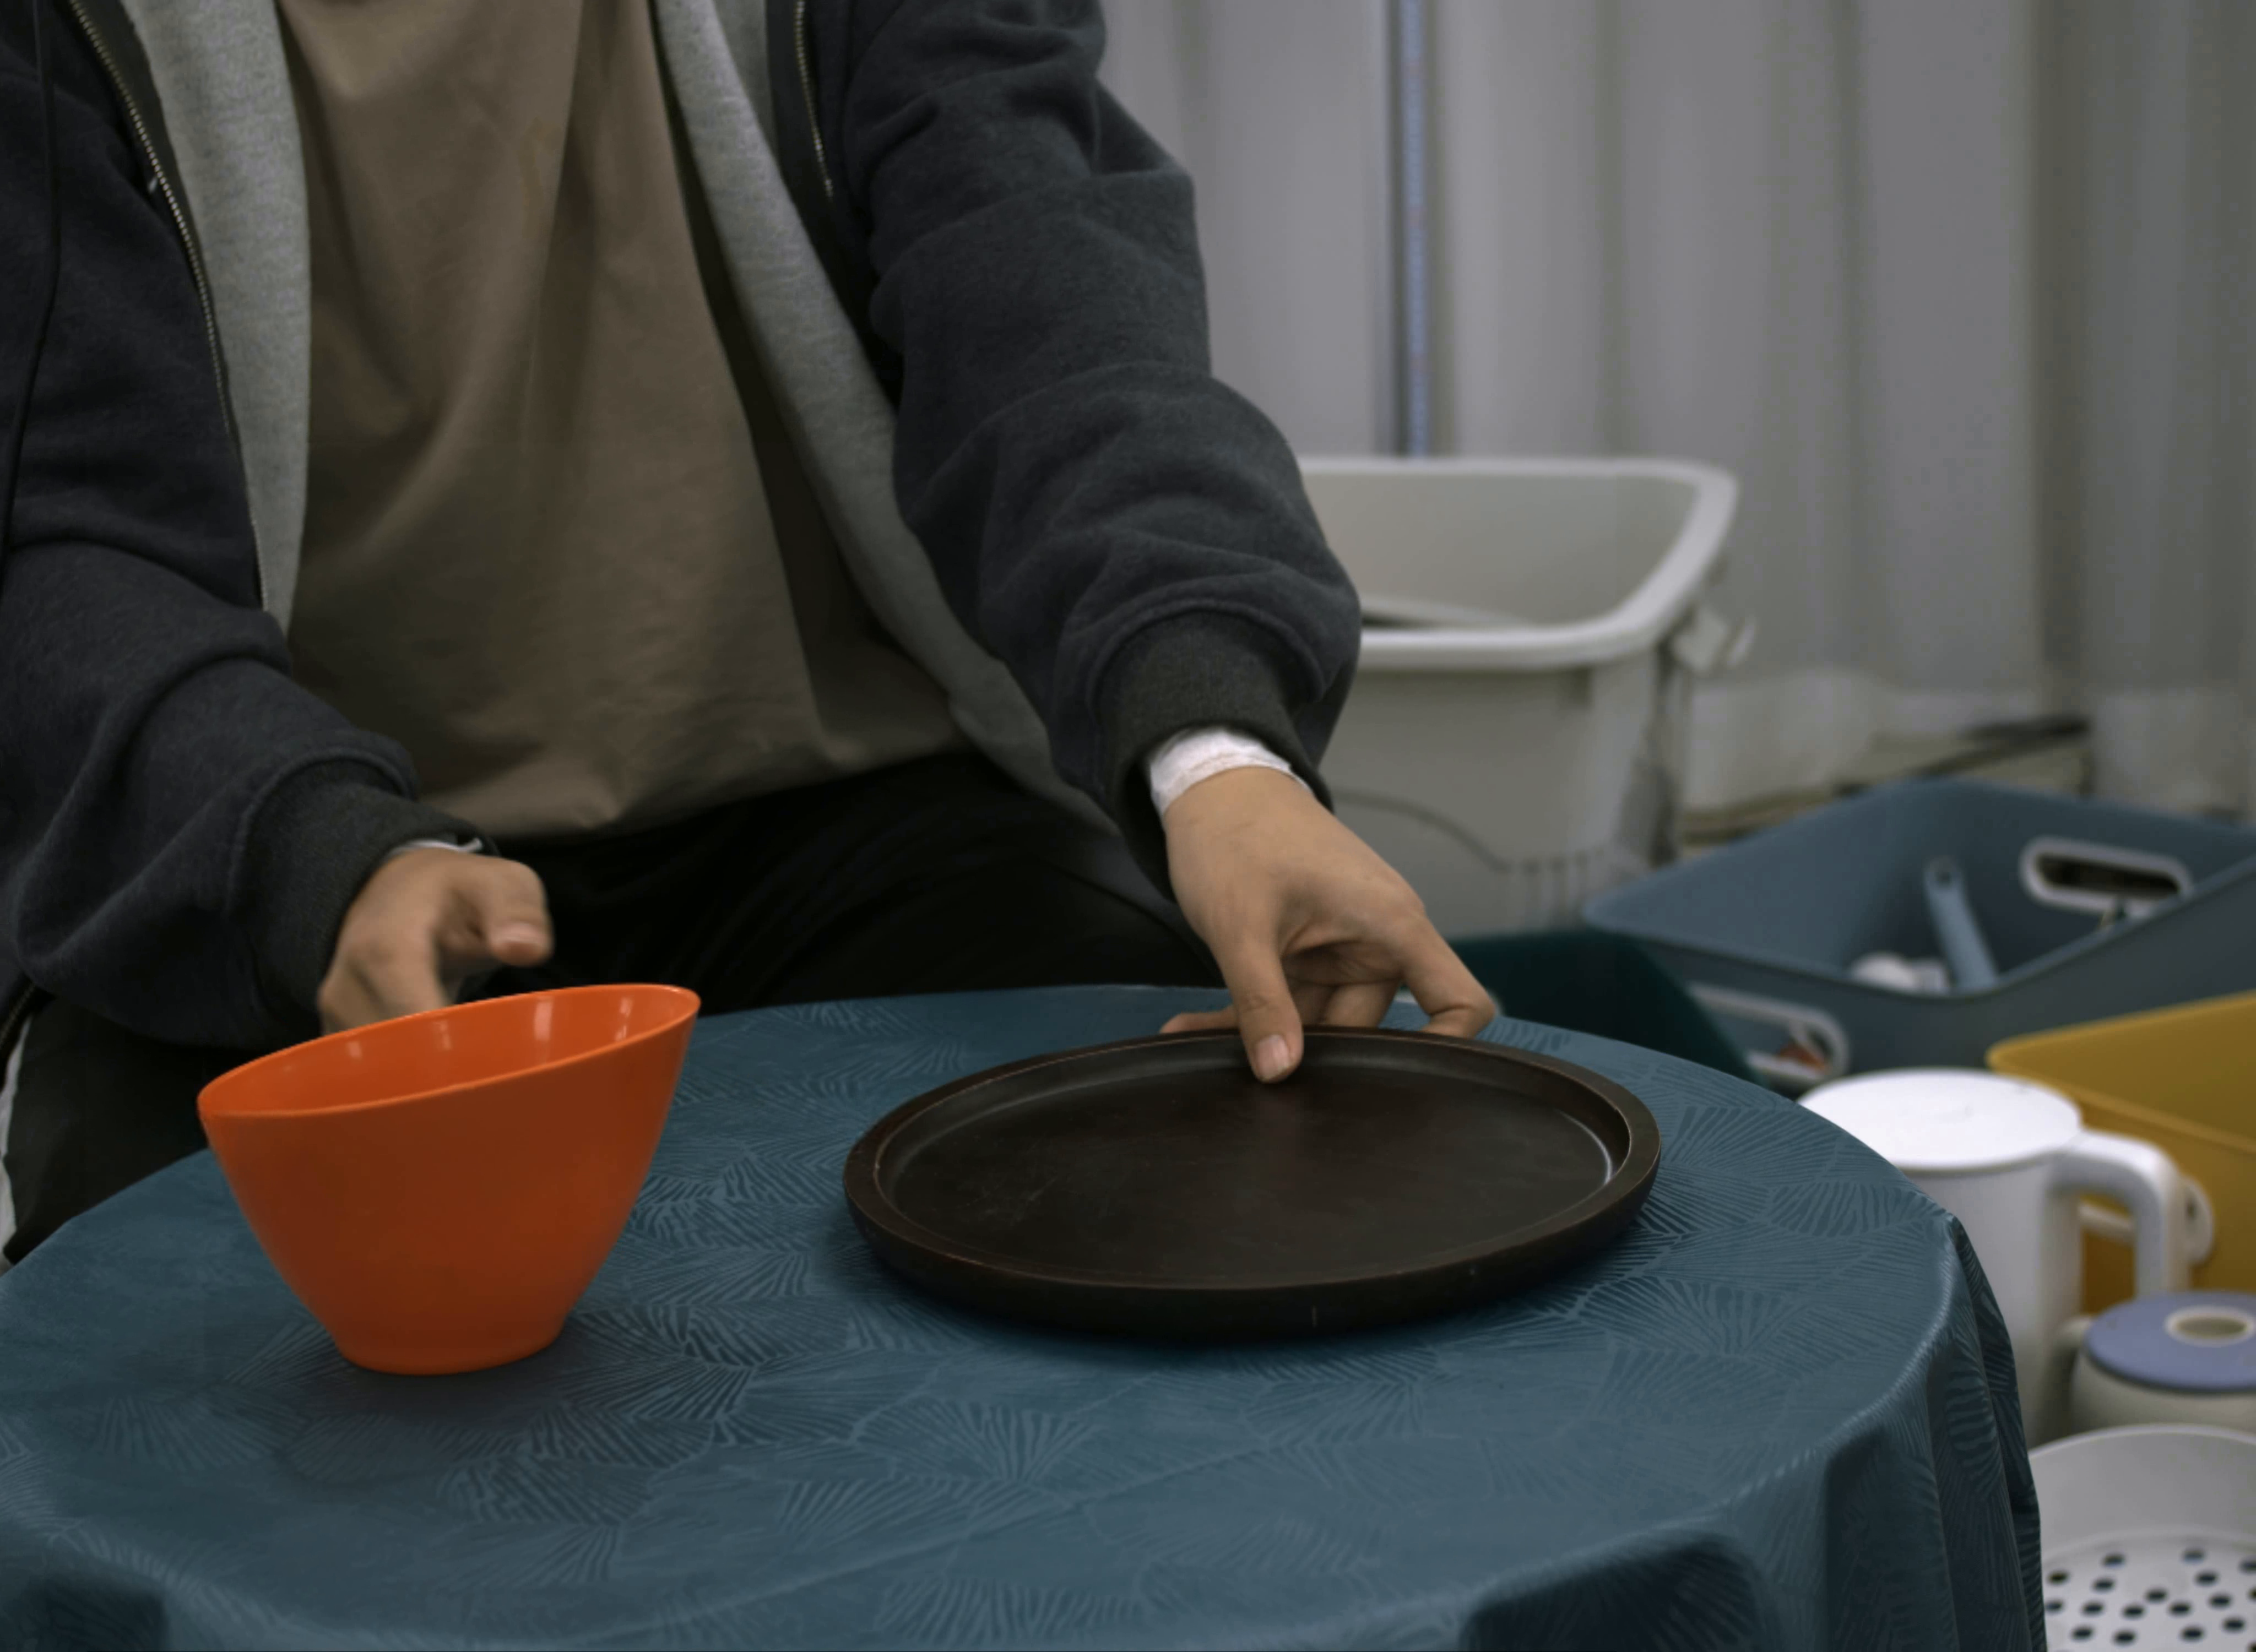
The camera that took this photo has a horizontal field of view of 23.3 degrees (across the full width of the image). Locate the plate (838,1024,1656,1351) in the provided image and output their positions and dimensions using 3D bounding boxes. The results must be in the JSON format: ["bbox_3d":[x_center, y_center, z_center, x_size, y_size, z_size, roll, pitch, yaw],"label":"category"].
[{"bbox_3d":[0.037,0.109,1.687,0.254,0.029,0.256,-4,16,1],"label":"plate"}]

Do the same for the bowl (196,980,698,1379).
[{"bbox_3d":[-0.195,0.104,1.599,0.147,0.104,0.149,-4,16,1],"label":"bowl"}]
